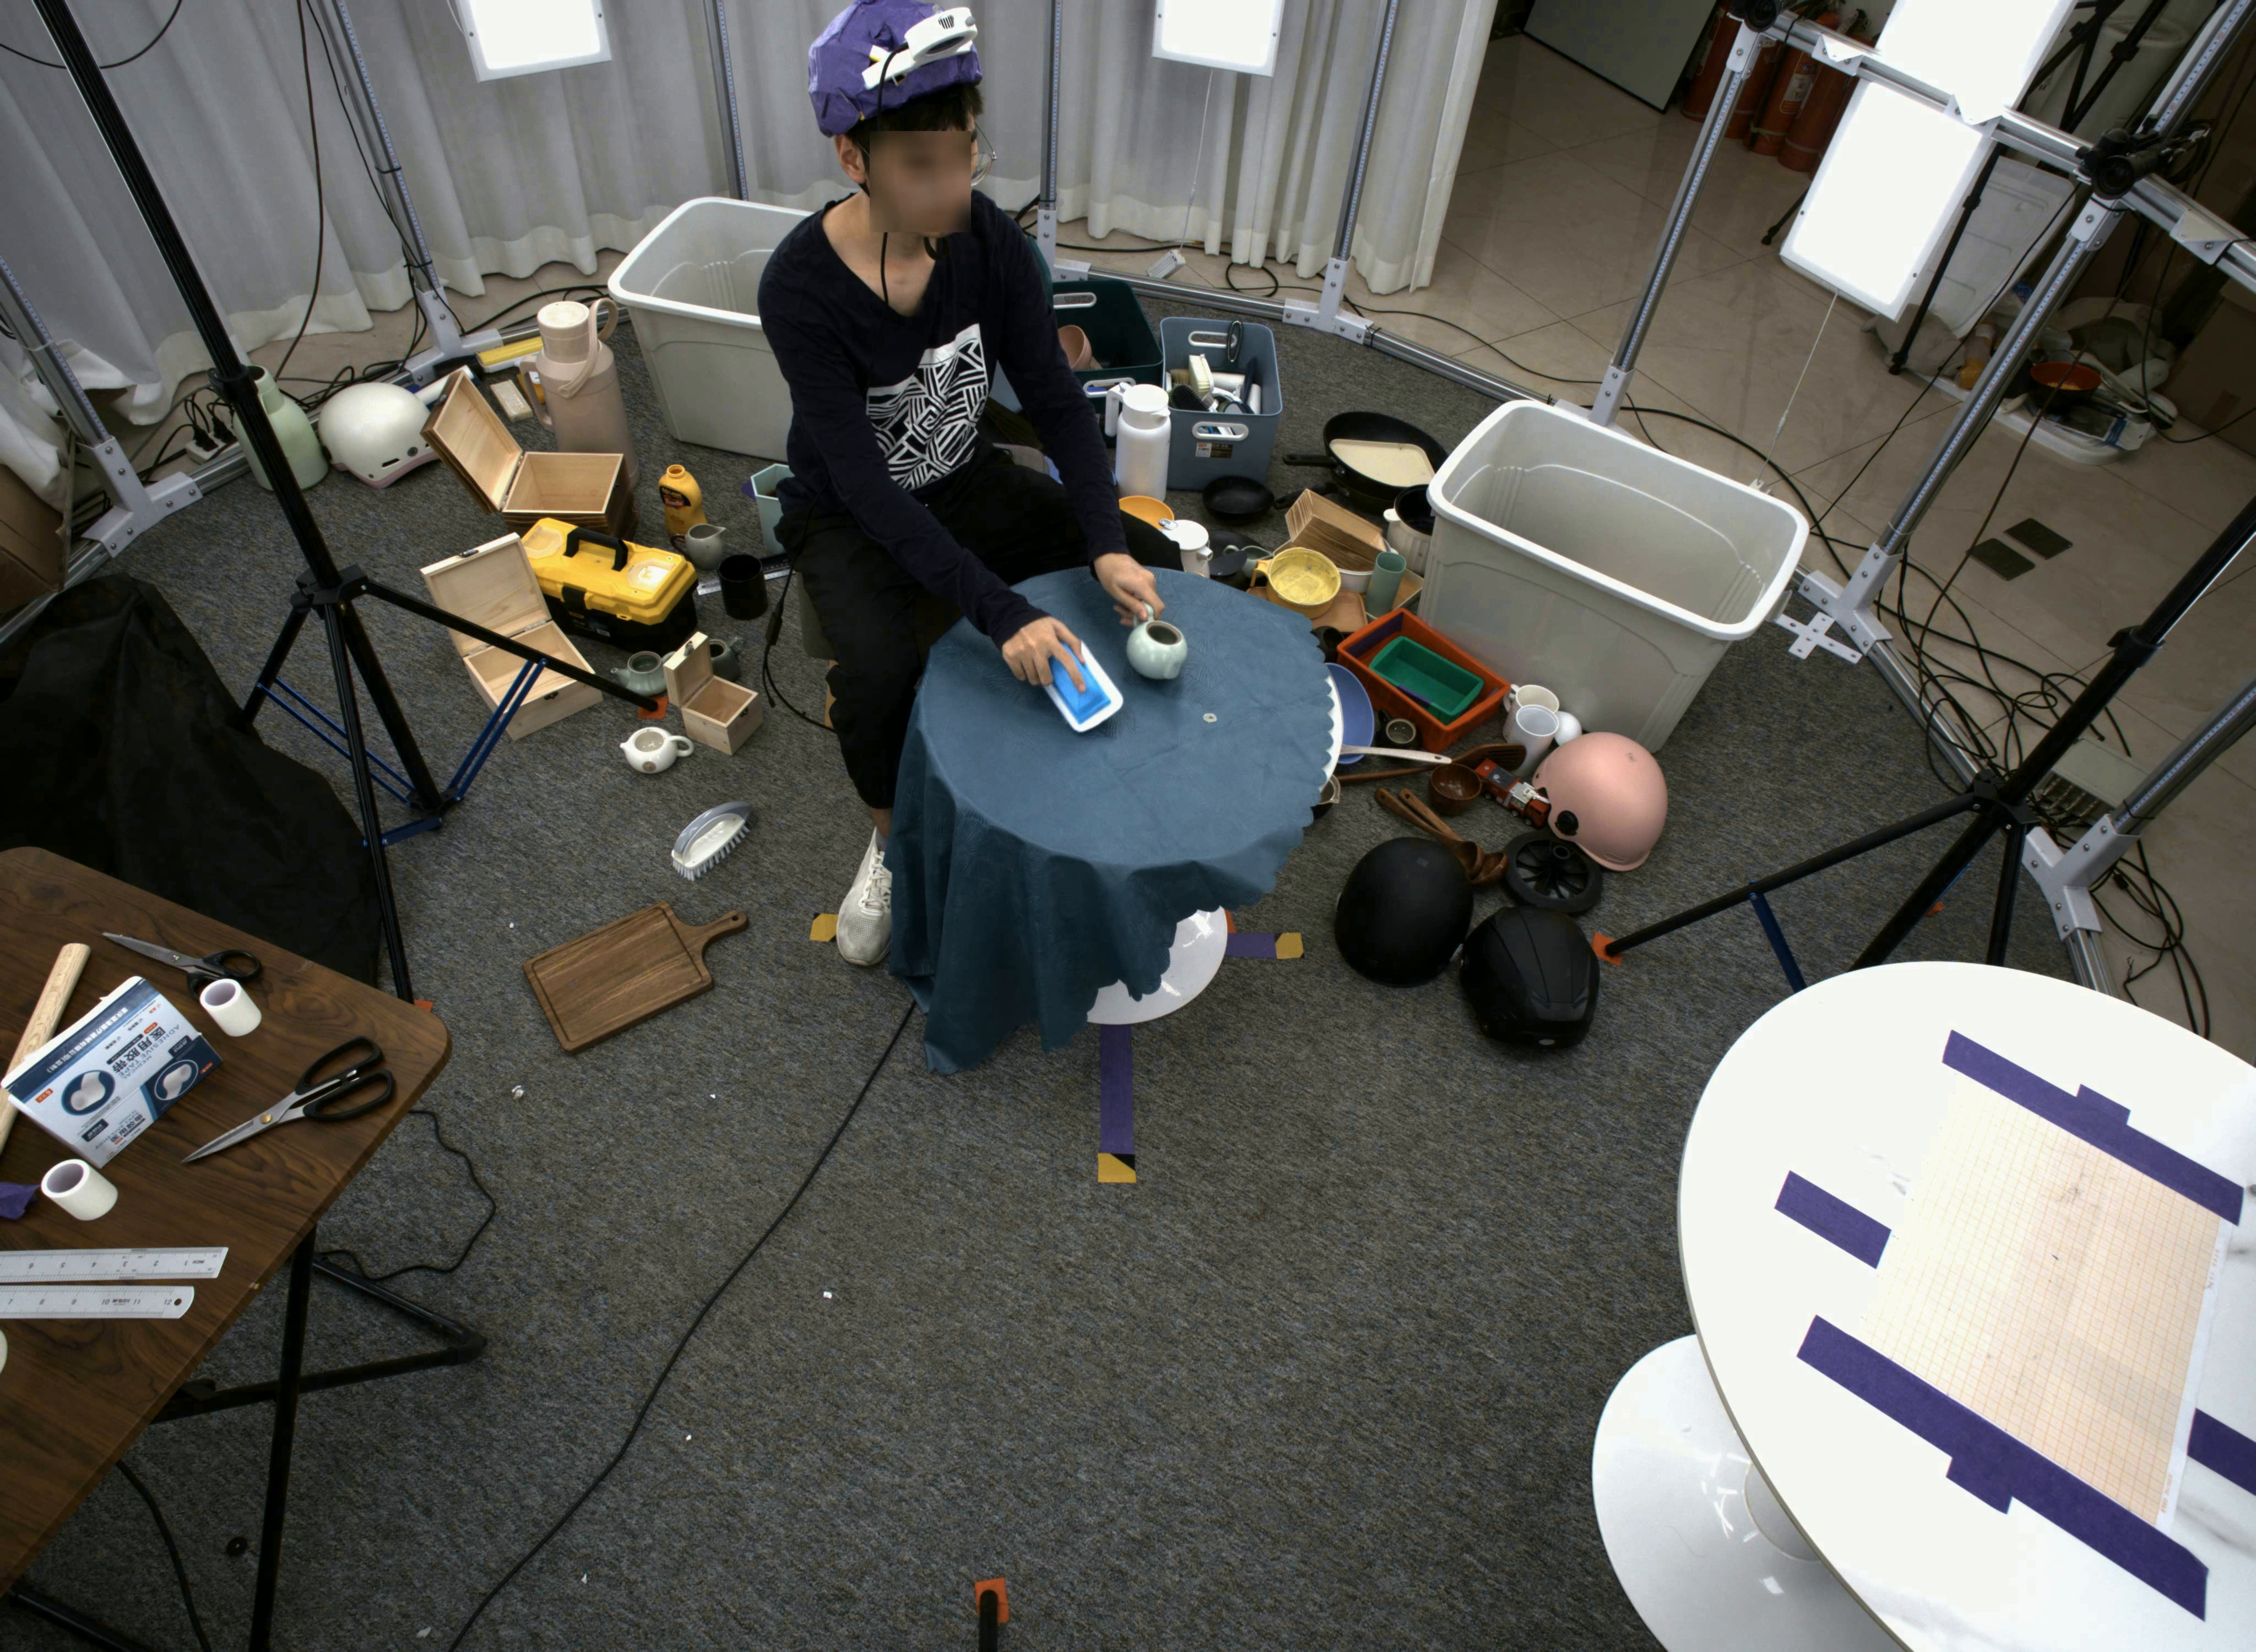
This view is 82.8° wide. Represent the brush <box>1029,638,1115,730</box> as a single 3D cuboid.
[{"bbox_3d":[-0.081,-0.206,1.783,0.084,0.055,0.147,-30,60,-3],"label":"brush"}]

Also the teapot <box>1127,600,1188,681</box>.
[{"bbox_3d":[0.042,-0.252,1.838,0.088,0.073,0.147,-8,52,-24],"label":"teapot"}]
